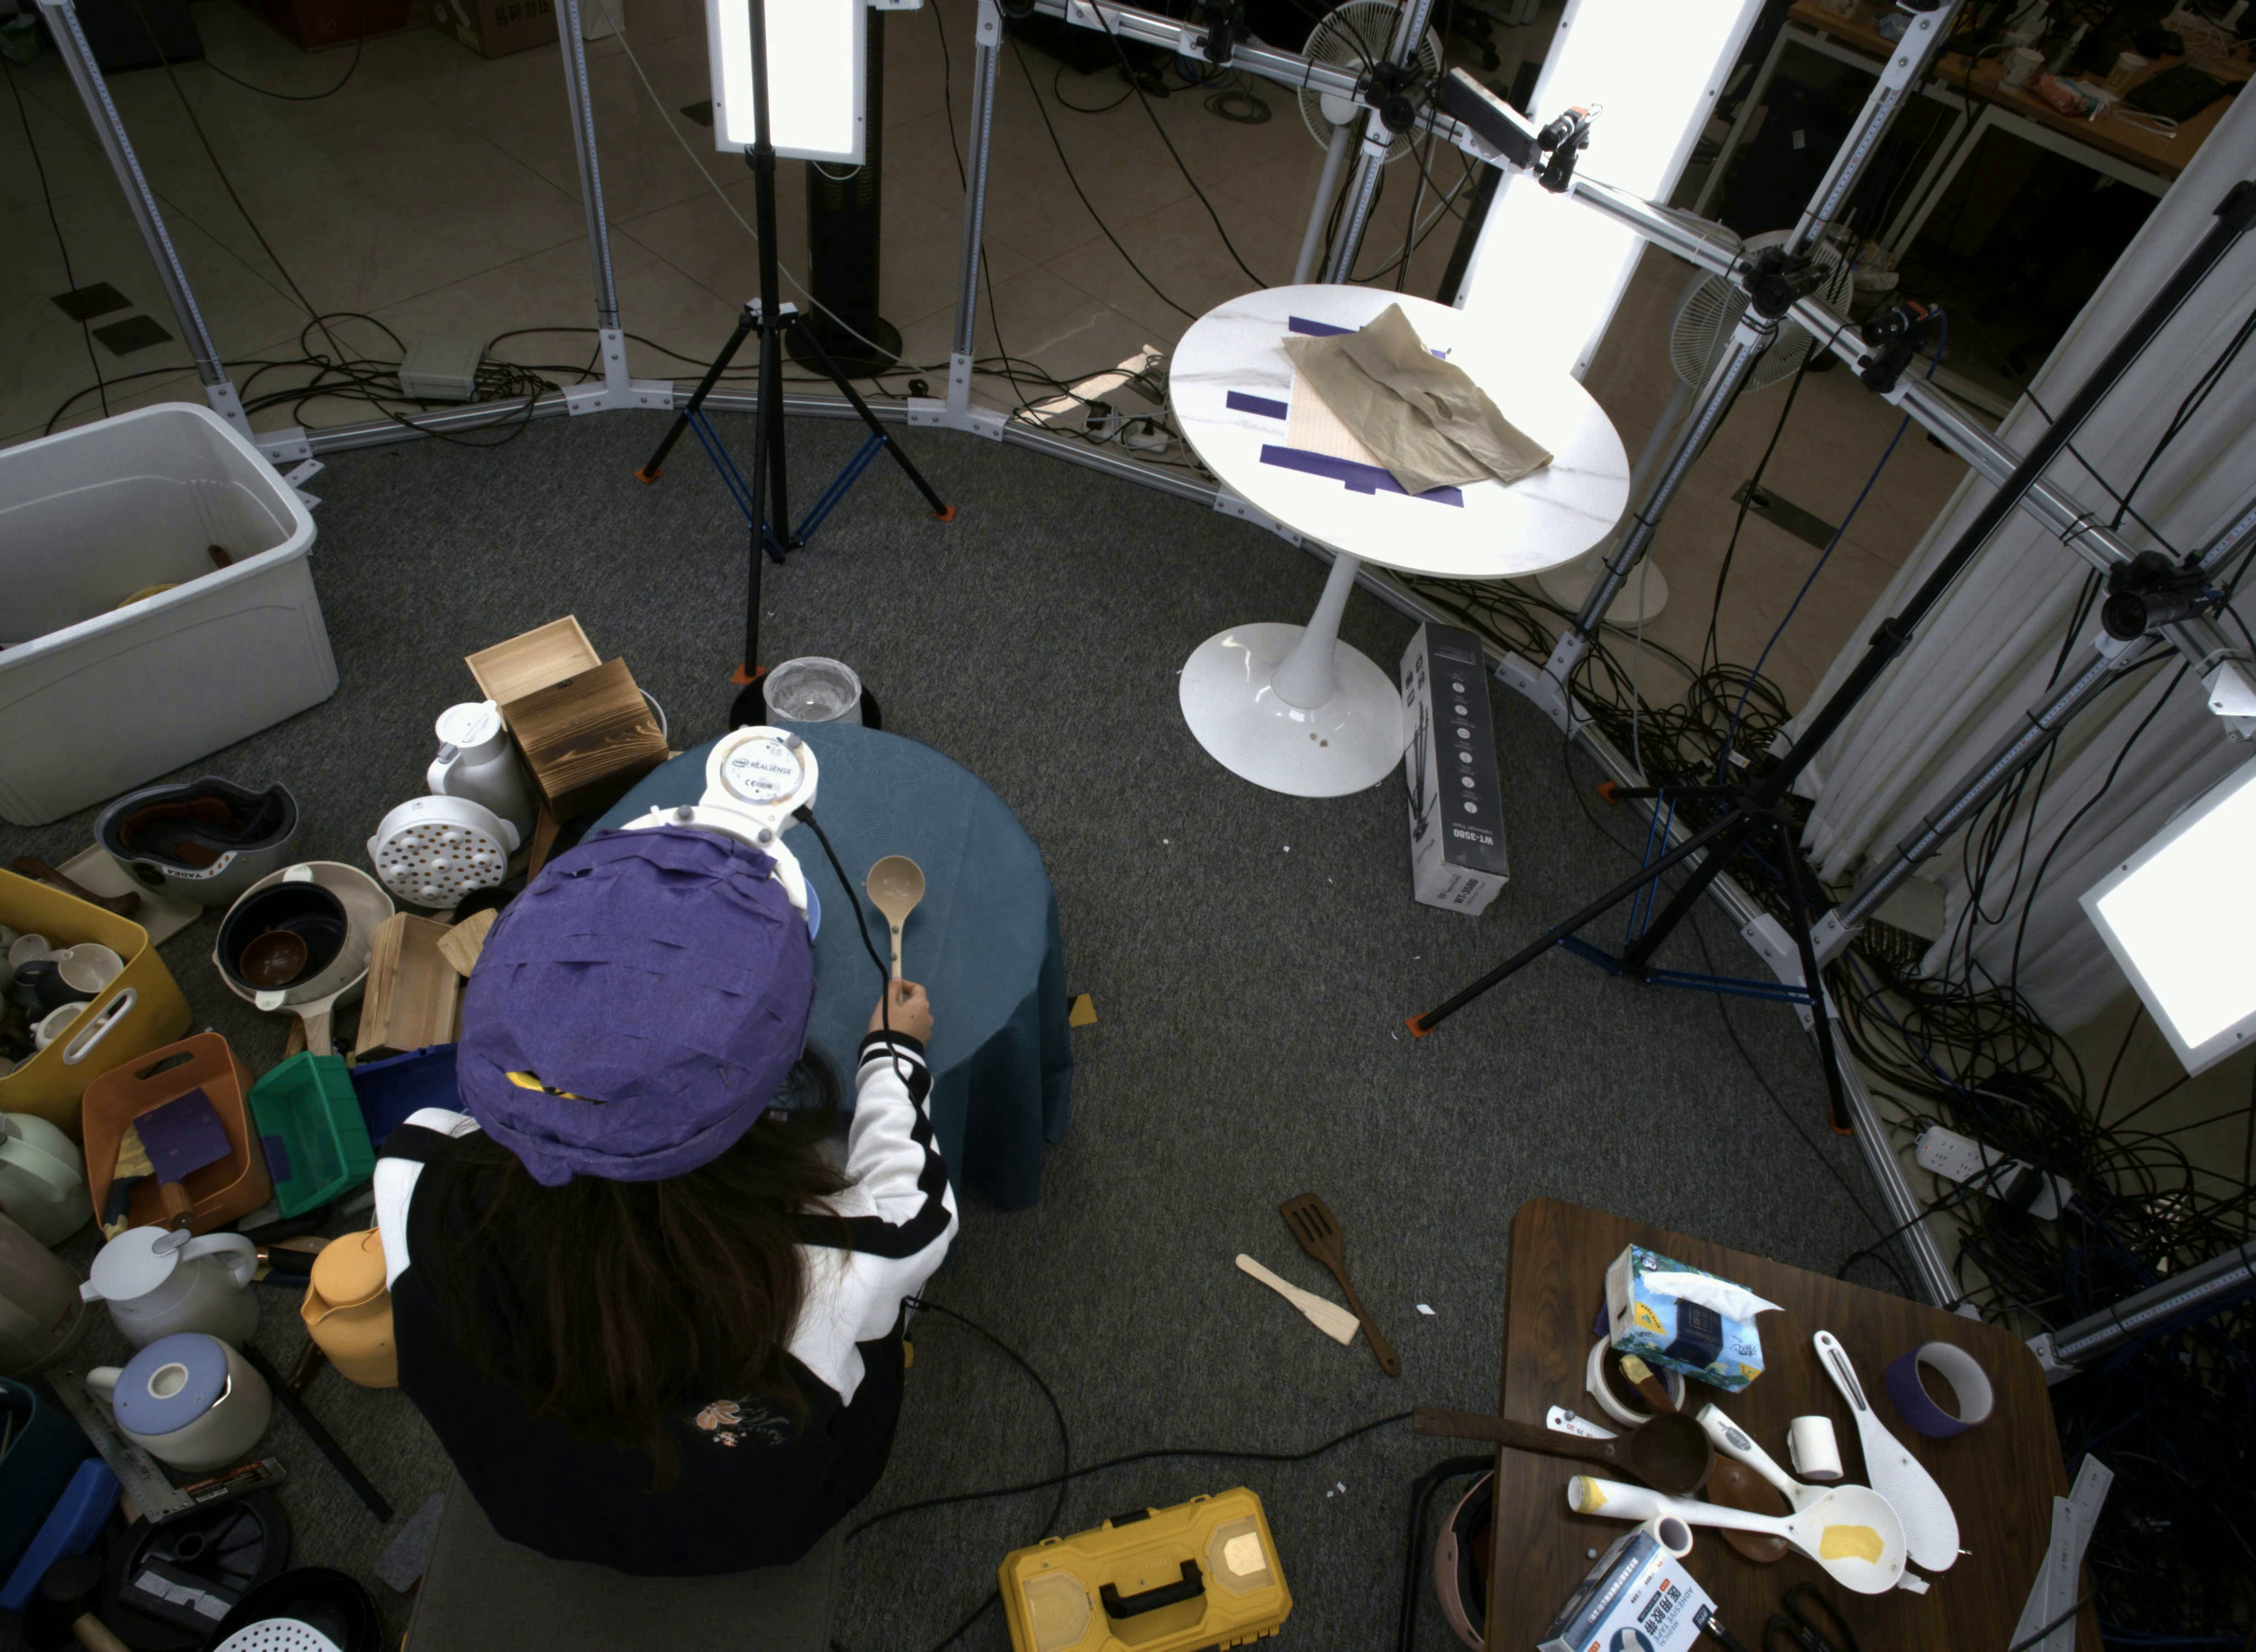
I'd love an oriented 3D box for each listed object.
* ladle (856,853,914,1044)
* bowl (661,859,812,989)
[{"bbox_3d":[-0.285,0.136,1.560,0.072,0.075,0.247,-3,44,-13],"label":"ladle"},{"bbox_3d":[-0.471,0.128,1.566,0.175,0.072,0.173,7,52,-8],"label":"bowl"}]
